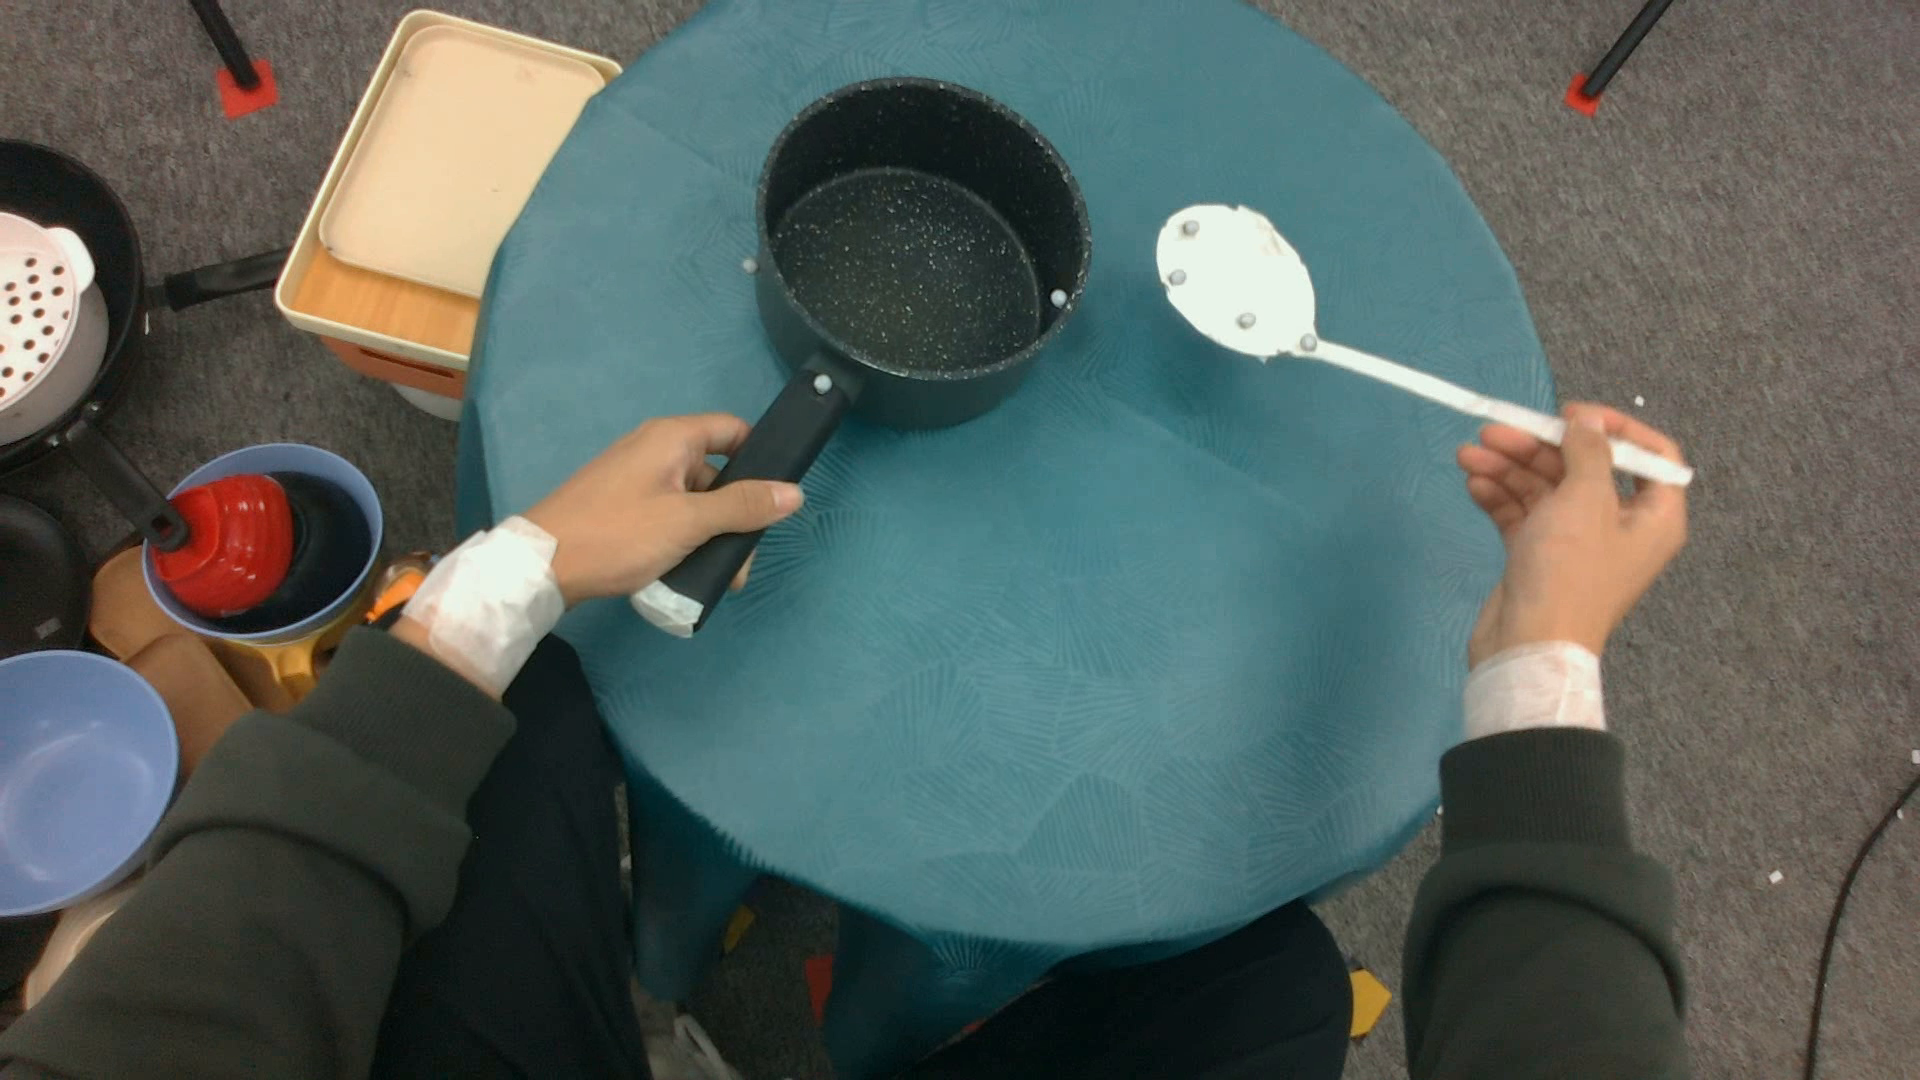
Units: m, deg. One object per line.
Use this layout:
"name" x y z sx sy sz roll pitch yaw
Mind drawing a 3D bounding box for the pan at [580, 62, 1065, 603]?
"pan" -0.075 -0.094 0.688 0.172 0.086 0.330 32 66 0

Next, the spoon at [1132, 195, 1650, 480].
"spoon" 0.202 -0.103 0.674 0.277 0.059 0.101 29 52 35
